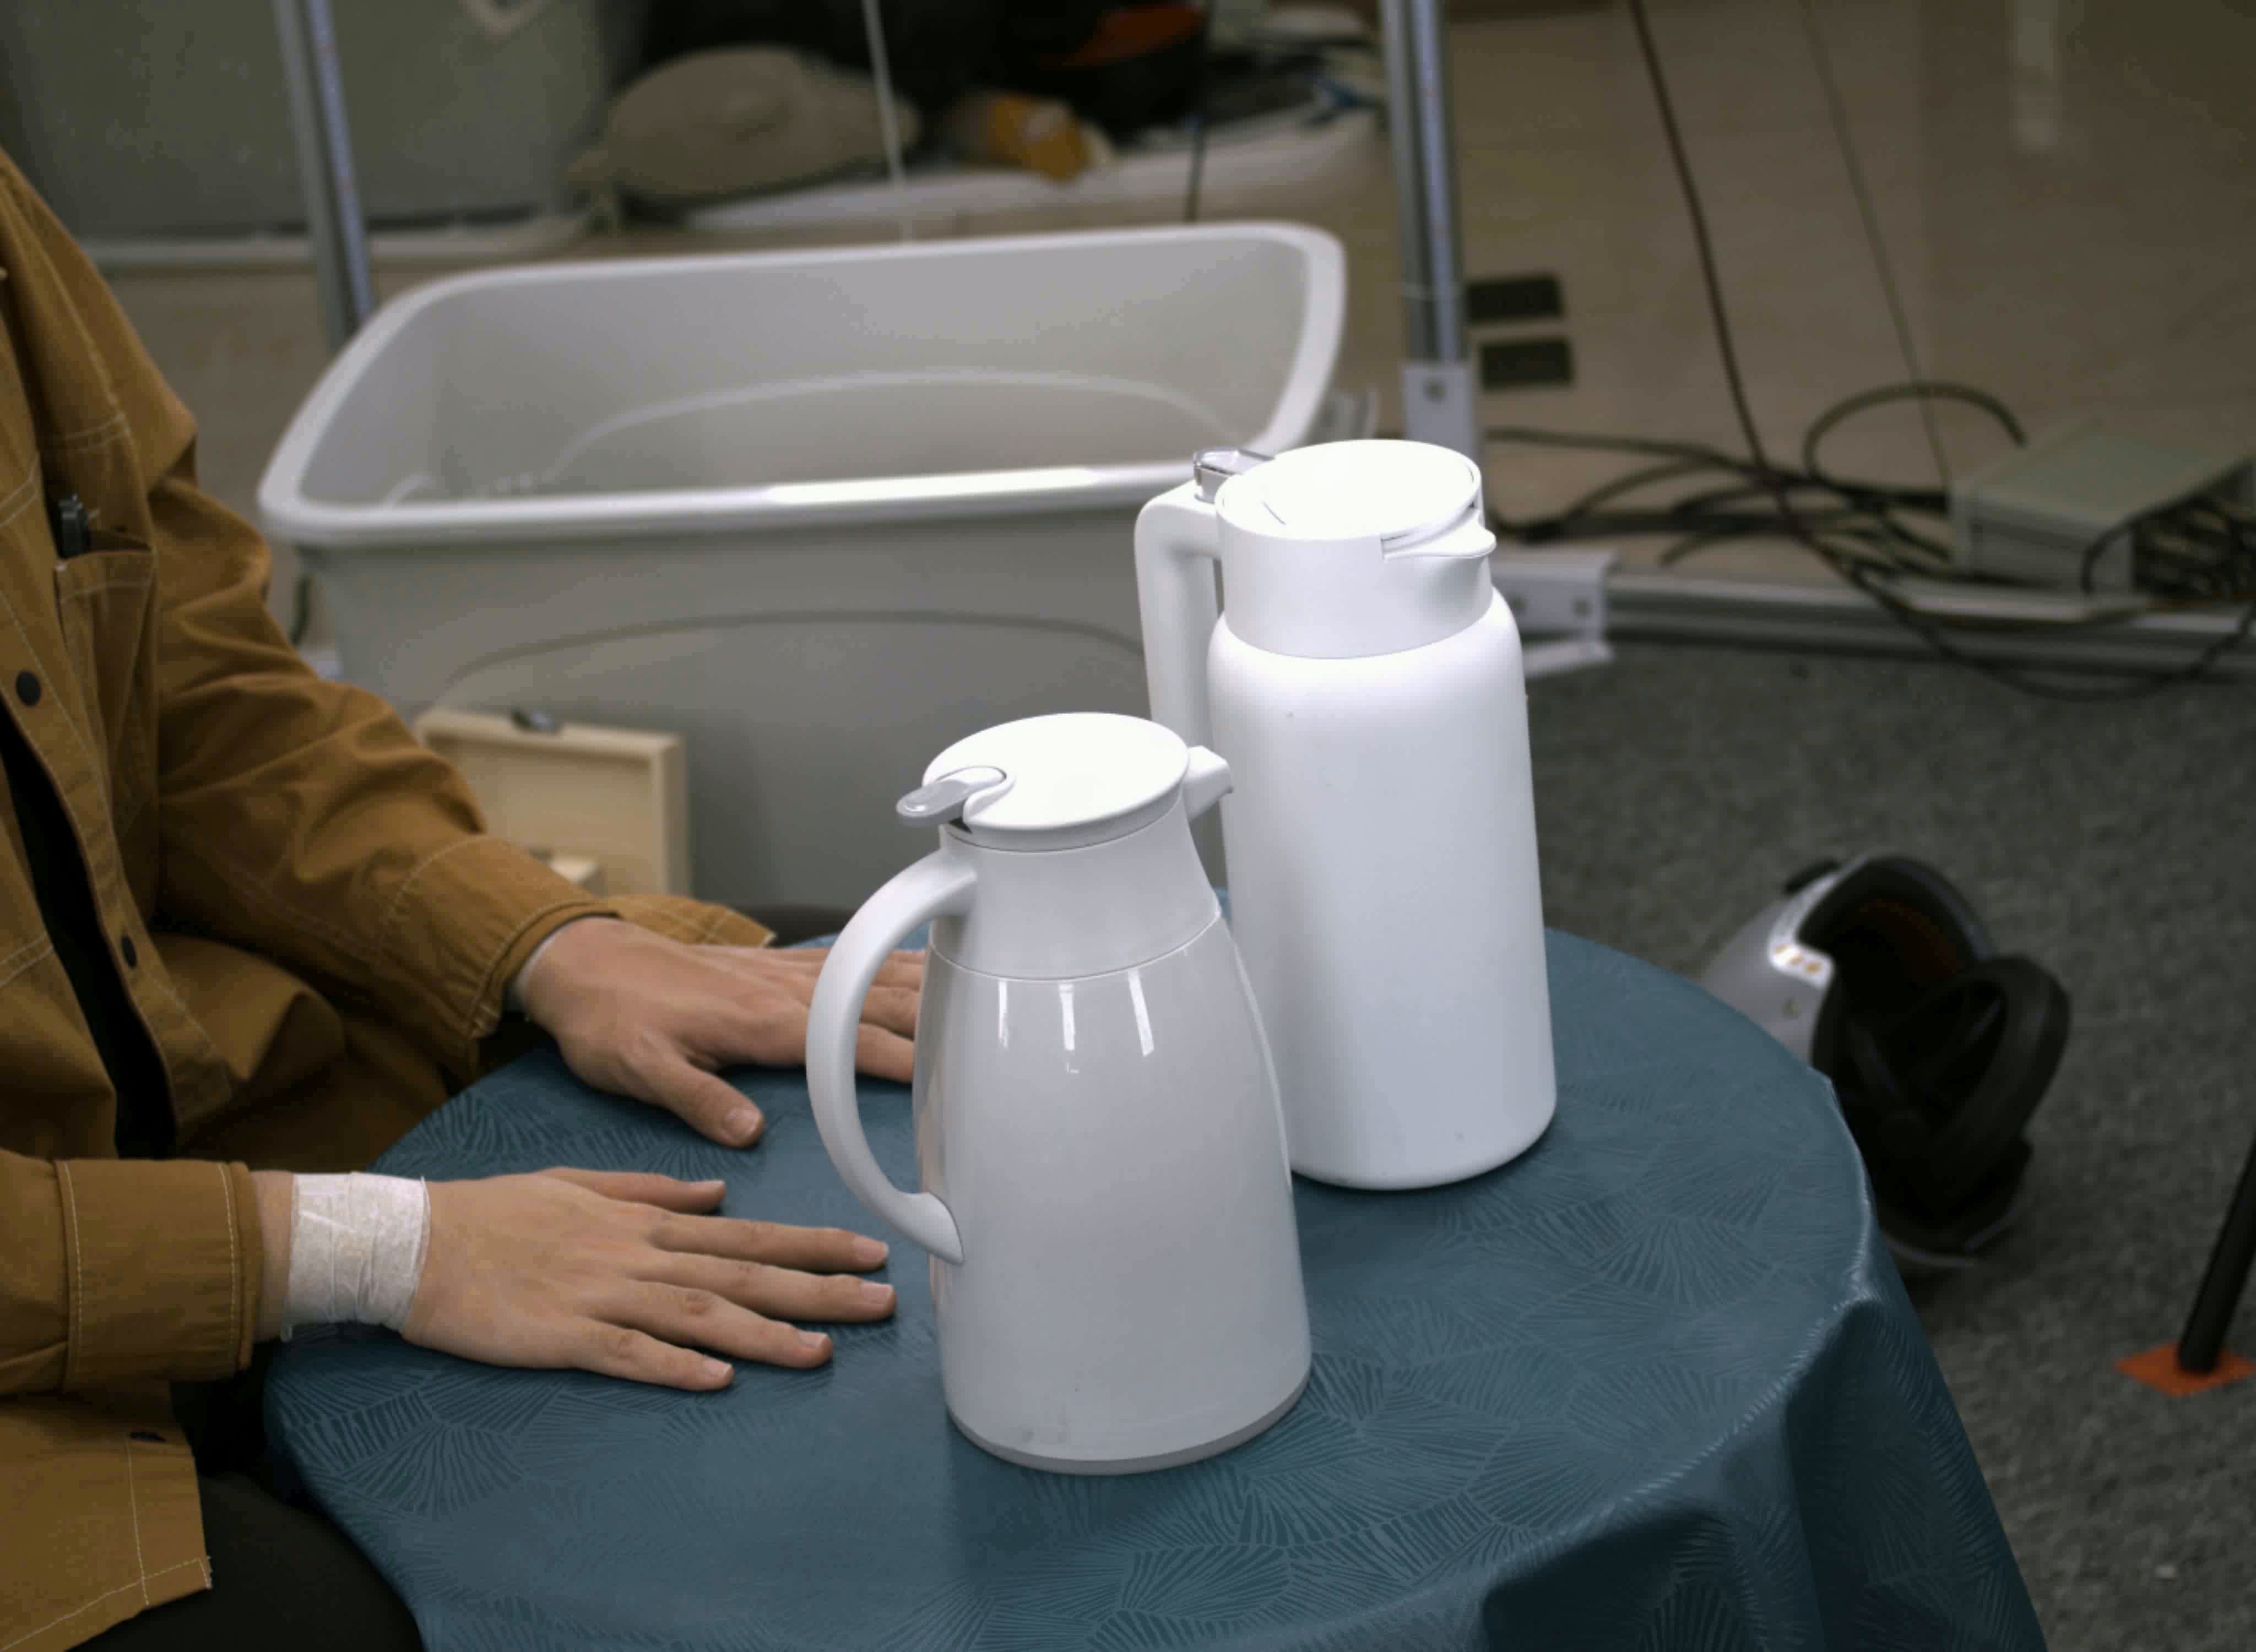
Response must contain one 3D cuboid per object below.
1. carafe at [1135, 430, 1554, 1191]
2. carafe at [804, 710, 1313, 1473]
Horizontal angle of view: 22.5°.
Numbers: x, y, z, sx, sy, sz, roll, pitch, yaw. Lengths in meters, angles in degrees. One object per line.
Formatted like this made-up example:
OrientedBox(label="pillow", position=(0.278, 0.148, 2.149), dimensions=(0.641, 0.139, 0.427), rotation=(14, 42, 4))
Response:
OrientedBox(label="carafe", position=(0.080, -0.008, 2.124), dimensions=(0.171, 0.273, 0.122), rotation=(18, 37, 41))
OrientedBox(label="carafe", position=(-0.029, 0.091, 1.961), dimensions=(0.167, 0.252, 0.131), rotation=(-20, 28, -24))
